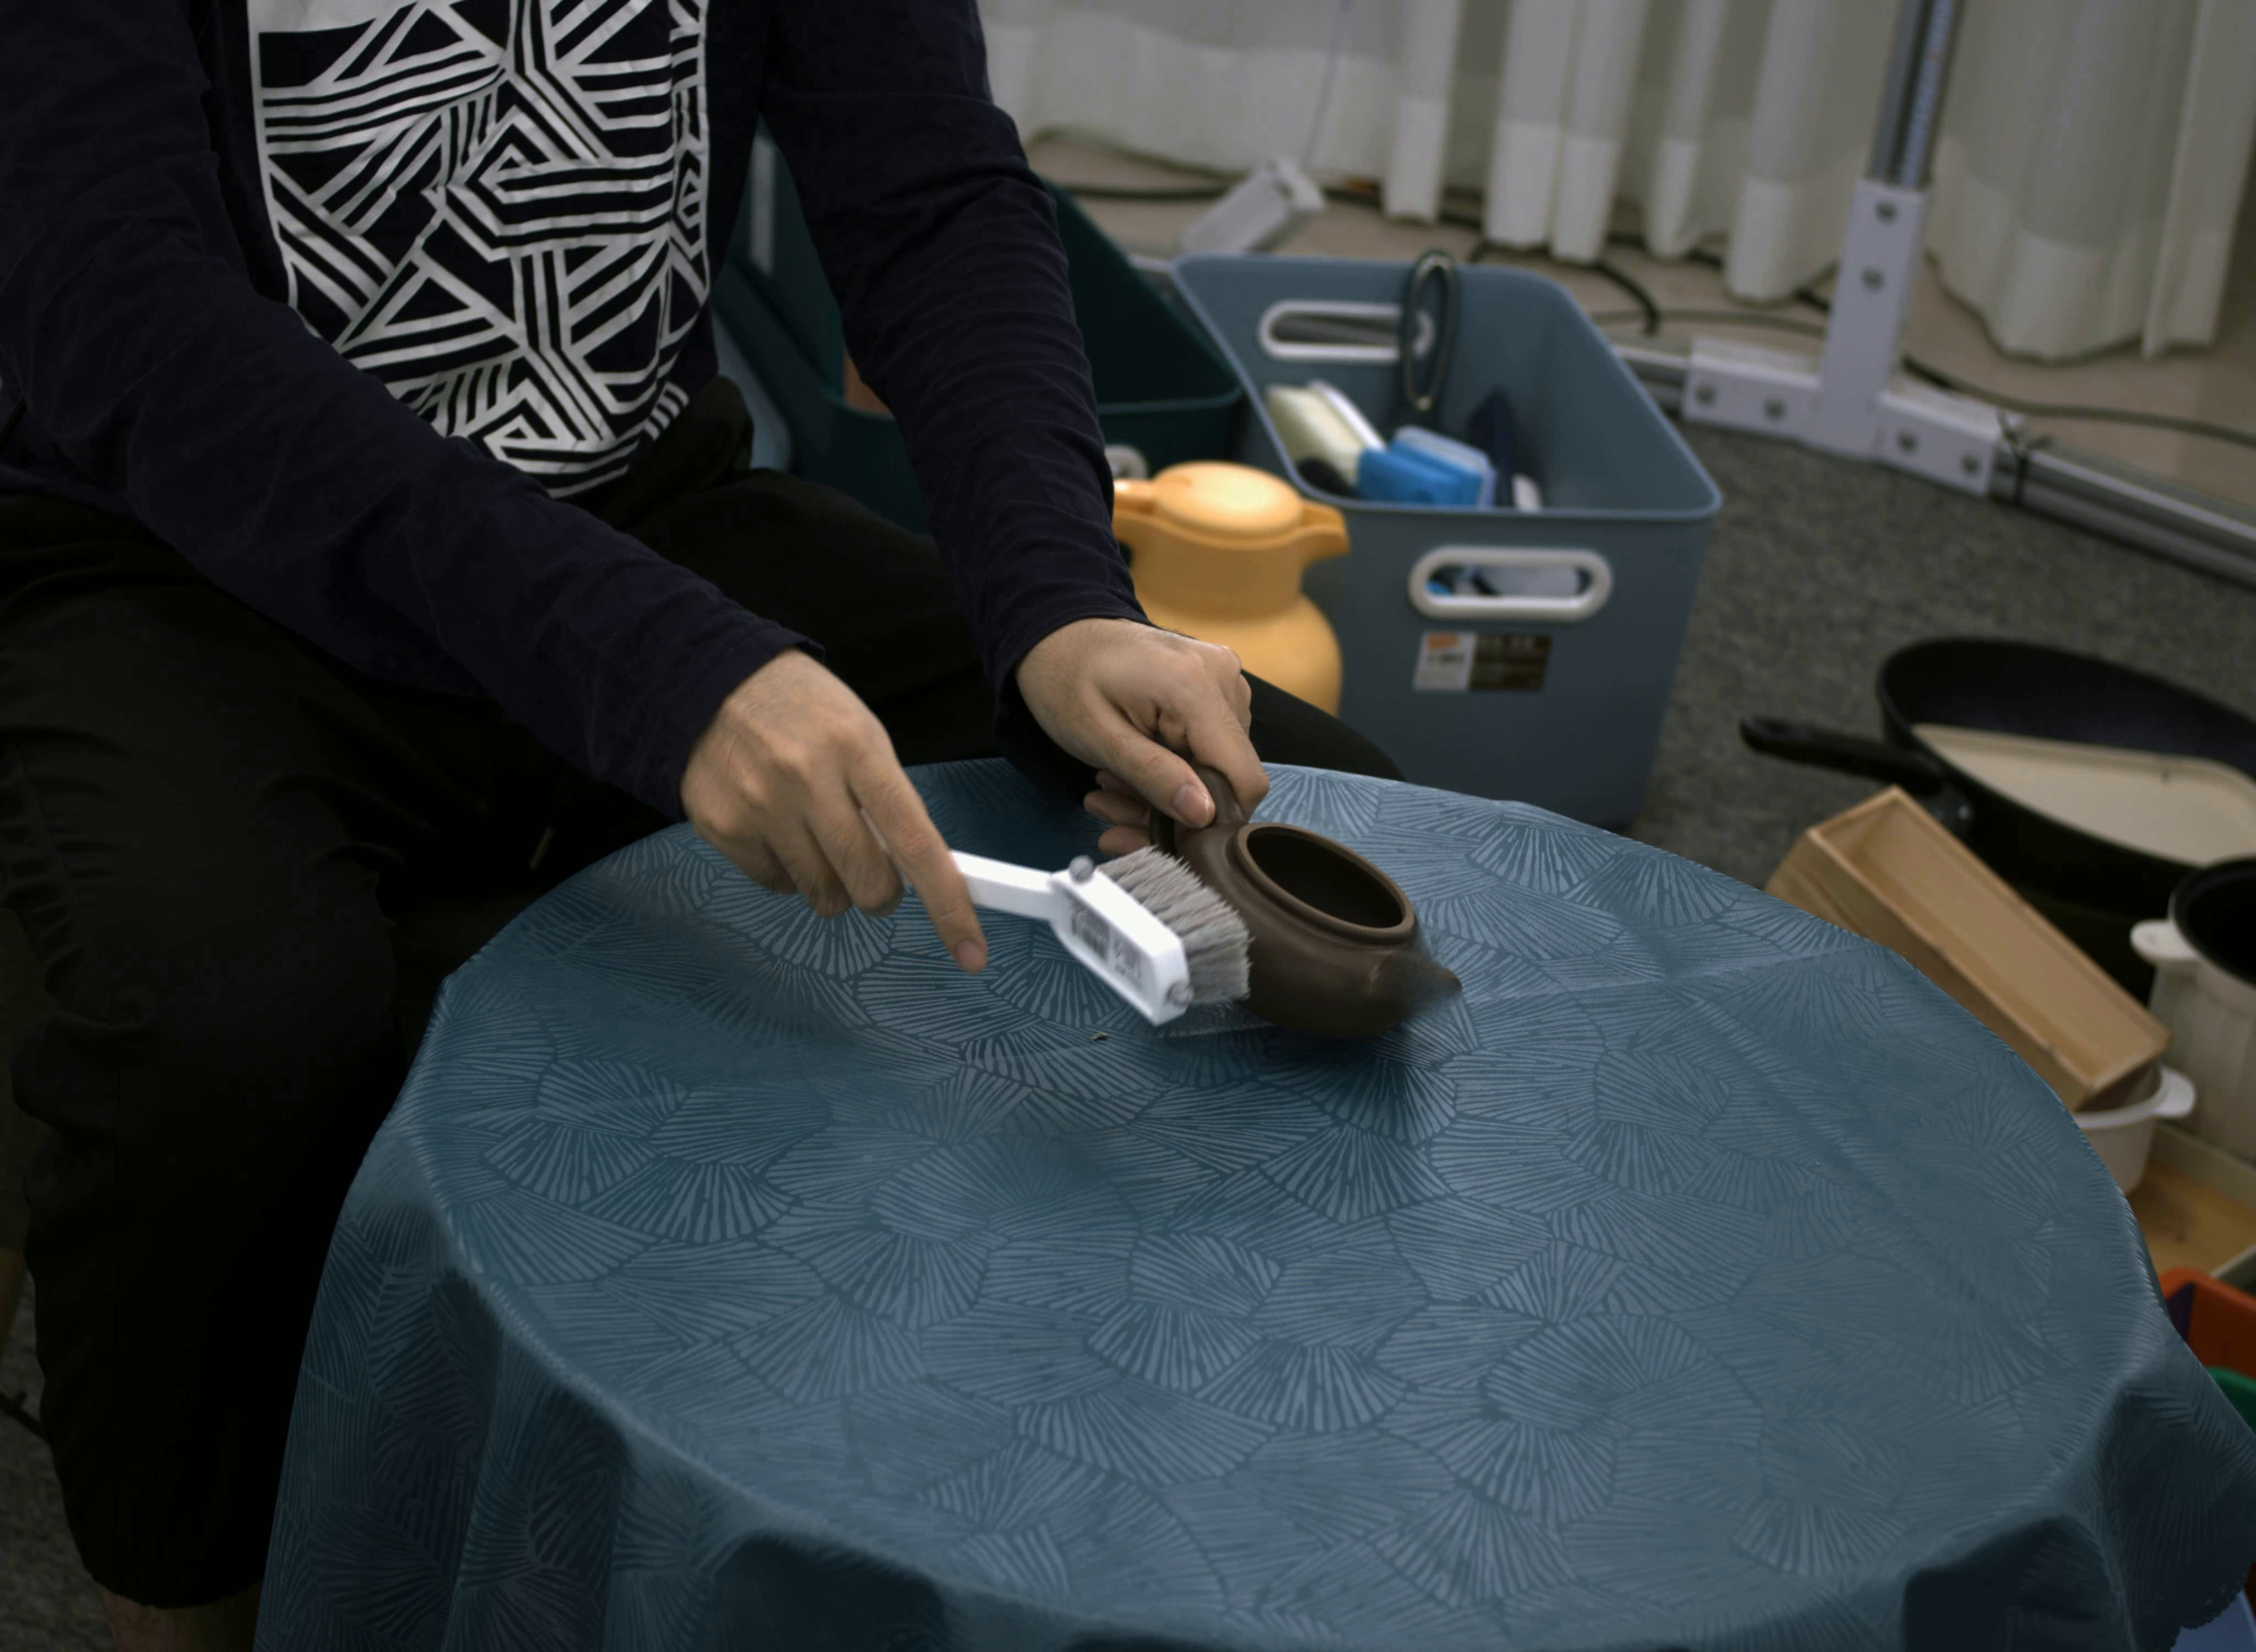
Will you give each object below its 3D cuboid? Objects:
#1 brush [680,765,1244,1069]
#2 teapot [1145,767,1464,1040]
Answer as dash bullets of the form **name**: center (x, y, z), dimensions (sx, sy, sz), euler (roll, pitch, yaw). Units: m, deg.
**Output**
- **brush**: center (-0.057, 0.021, 1.870), dimensions (0.245, 0.034, 0.050), euler (26, 46, 34)
- **teapot**: center (0.059, 0.033, 1.920), dimensions (0.154, 0.054, 0.102), euler (41, 28, 29)
